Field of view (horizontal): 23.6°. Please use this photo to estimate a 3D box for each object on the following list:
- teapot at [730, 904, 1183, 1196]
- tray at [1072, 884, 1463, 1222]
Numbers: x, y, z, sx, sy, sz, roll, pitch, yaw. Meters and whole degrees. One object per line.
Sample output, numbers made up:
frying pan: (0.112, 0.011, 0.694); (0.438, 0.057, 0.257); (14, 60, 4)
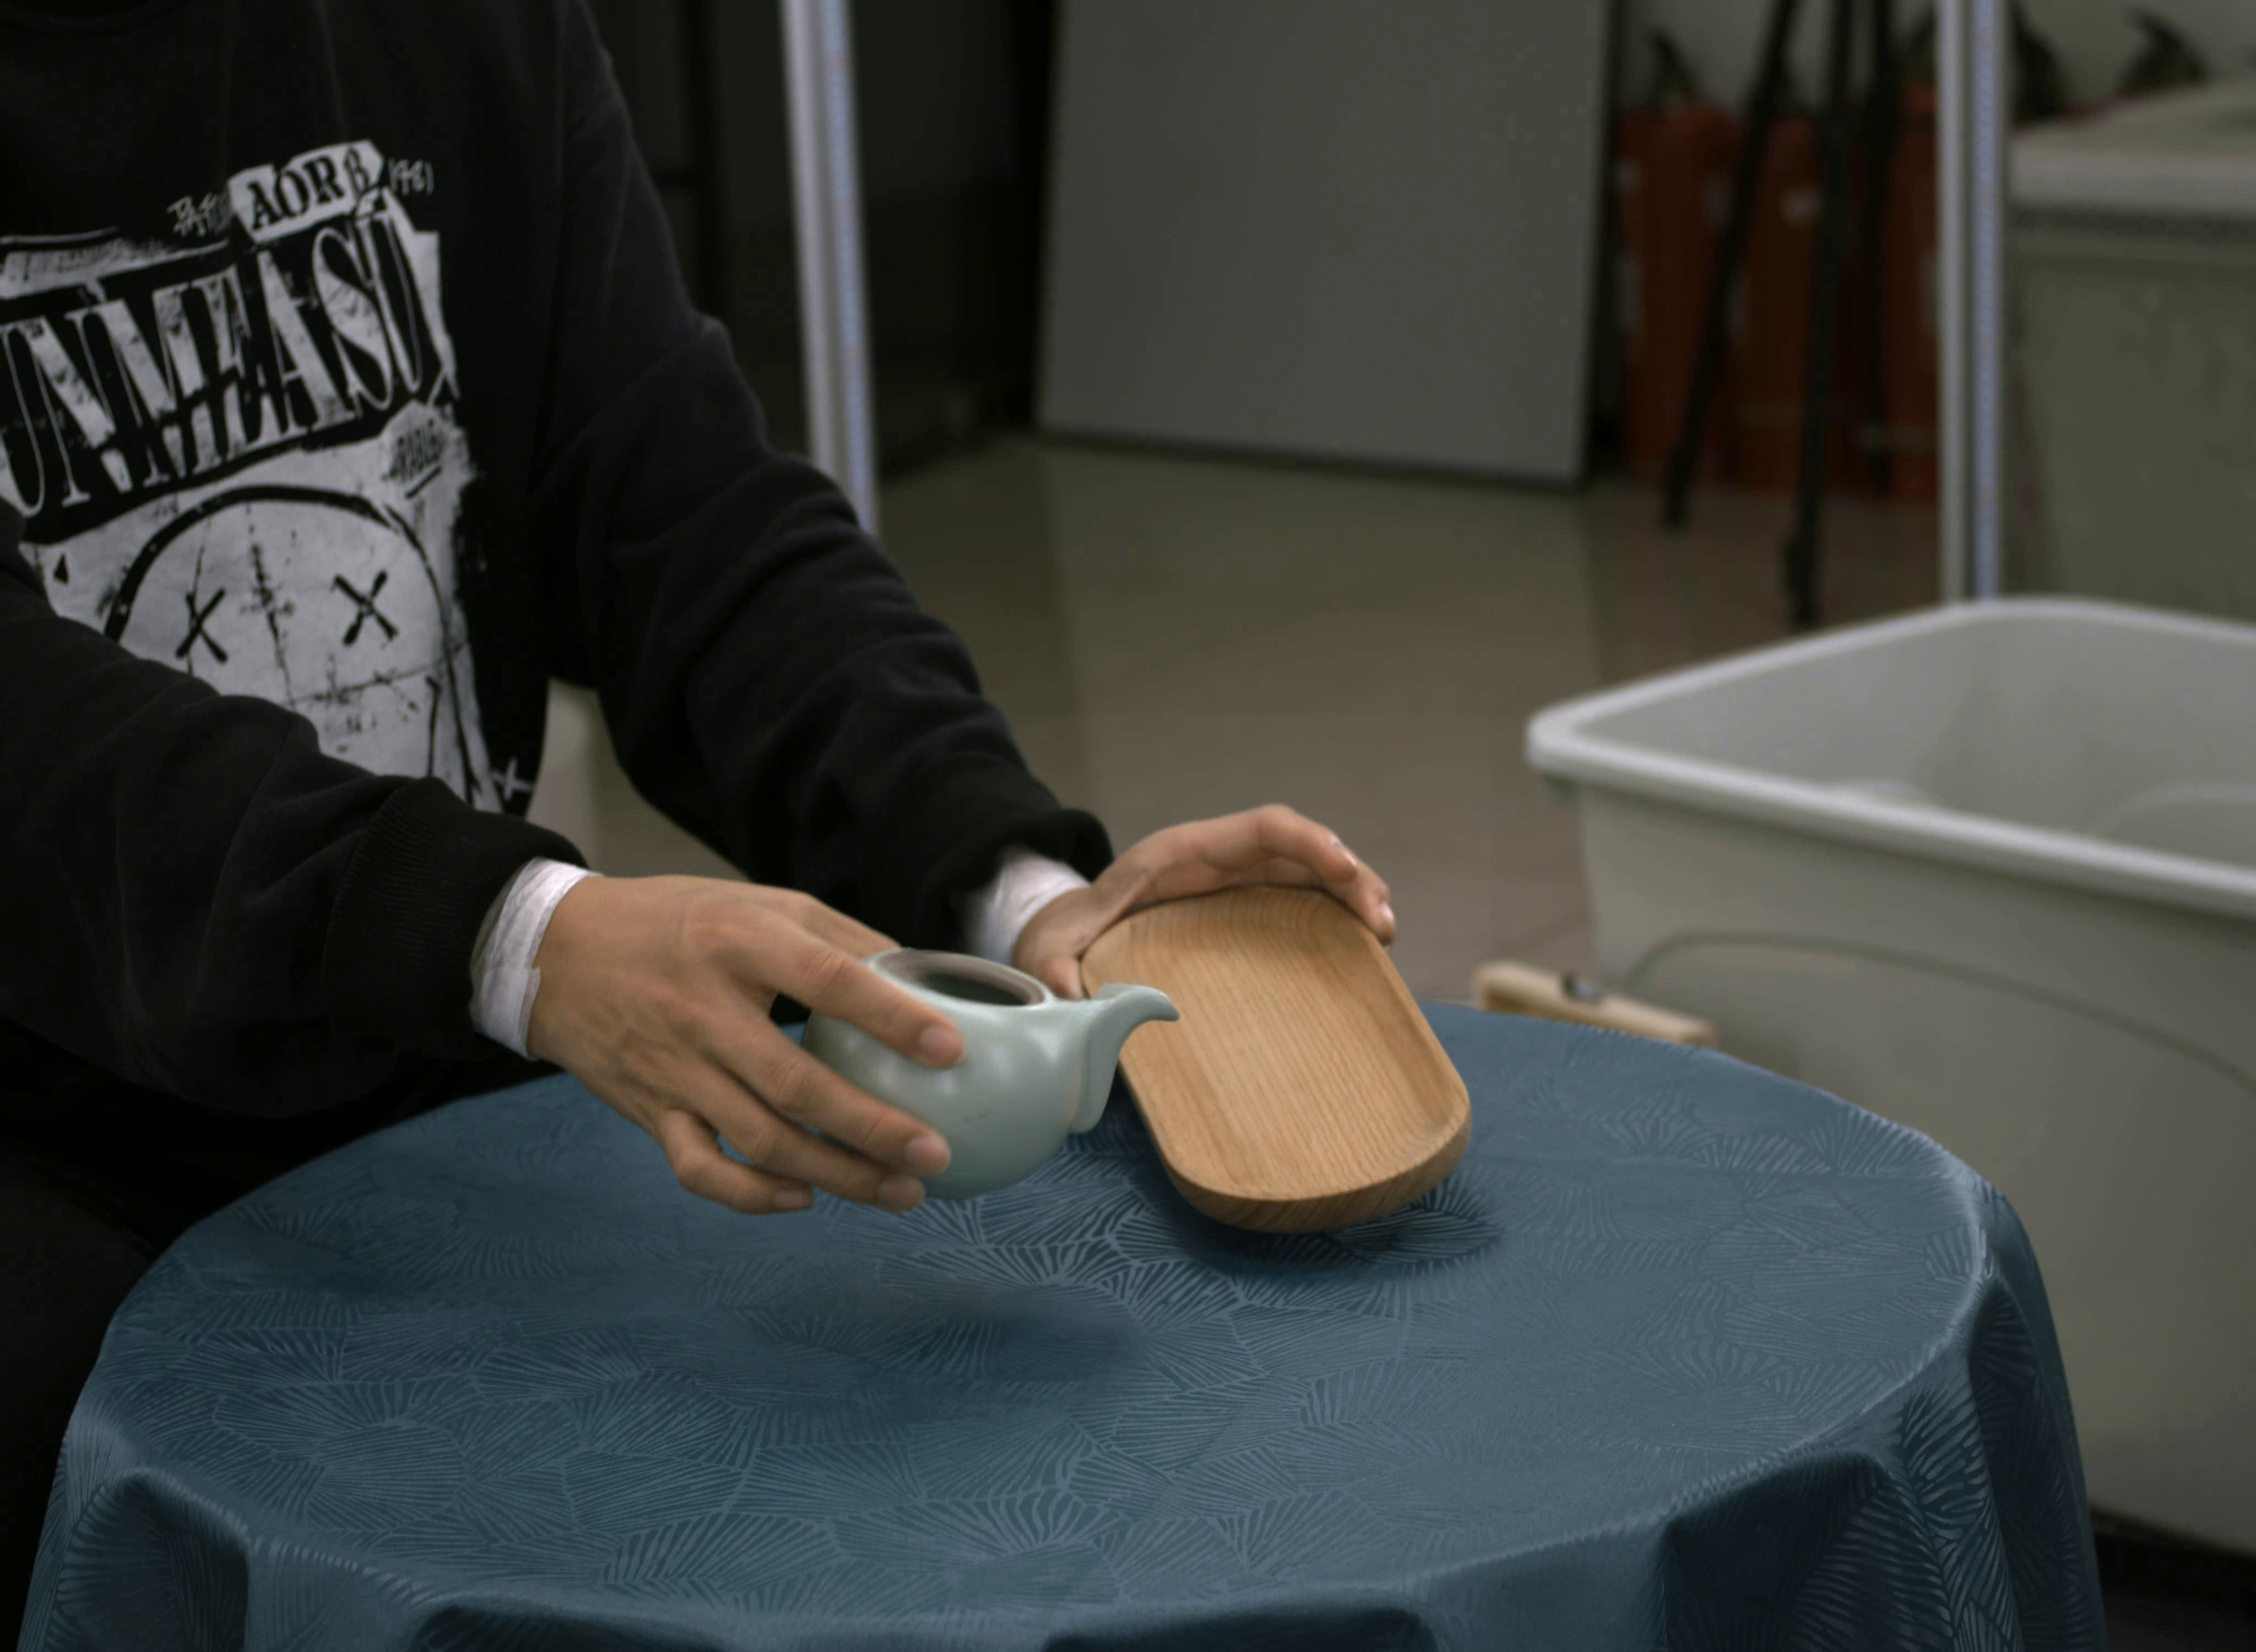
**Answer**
teapot: (-0.057, 0.072, 1.657); (0.141, 0.075, 0.089); (13, 11, -16)
tray: (0.045, 0.073, 1.786); (0.100, 0.020, 0.233); (-14, 23, -7)
